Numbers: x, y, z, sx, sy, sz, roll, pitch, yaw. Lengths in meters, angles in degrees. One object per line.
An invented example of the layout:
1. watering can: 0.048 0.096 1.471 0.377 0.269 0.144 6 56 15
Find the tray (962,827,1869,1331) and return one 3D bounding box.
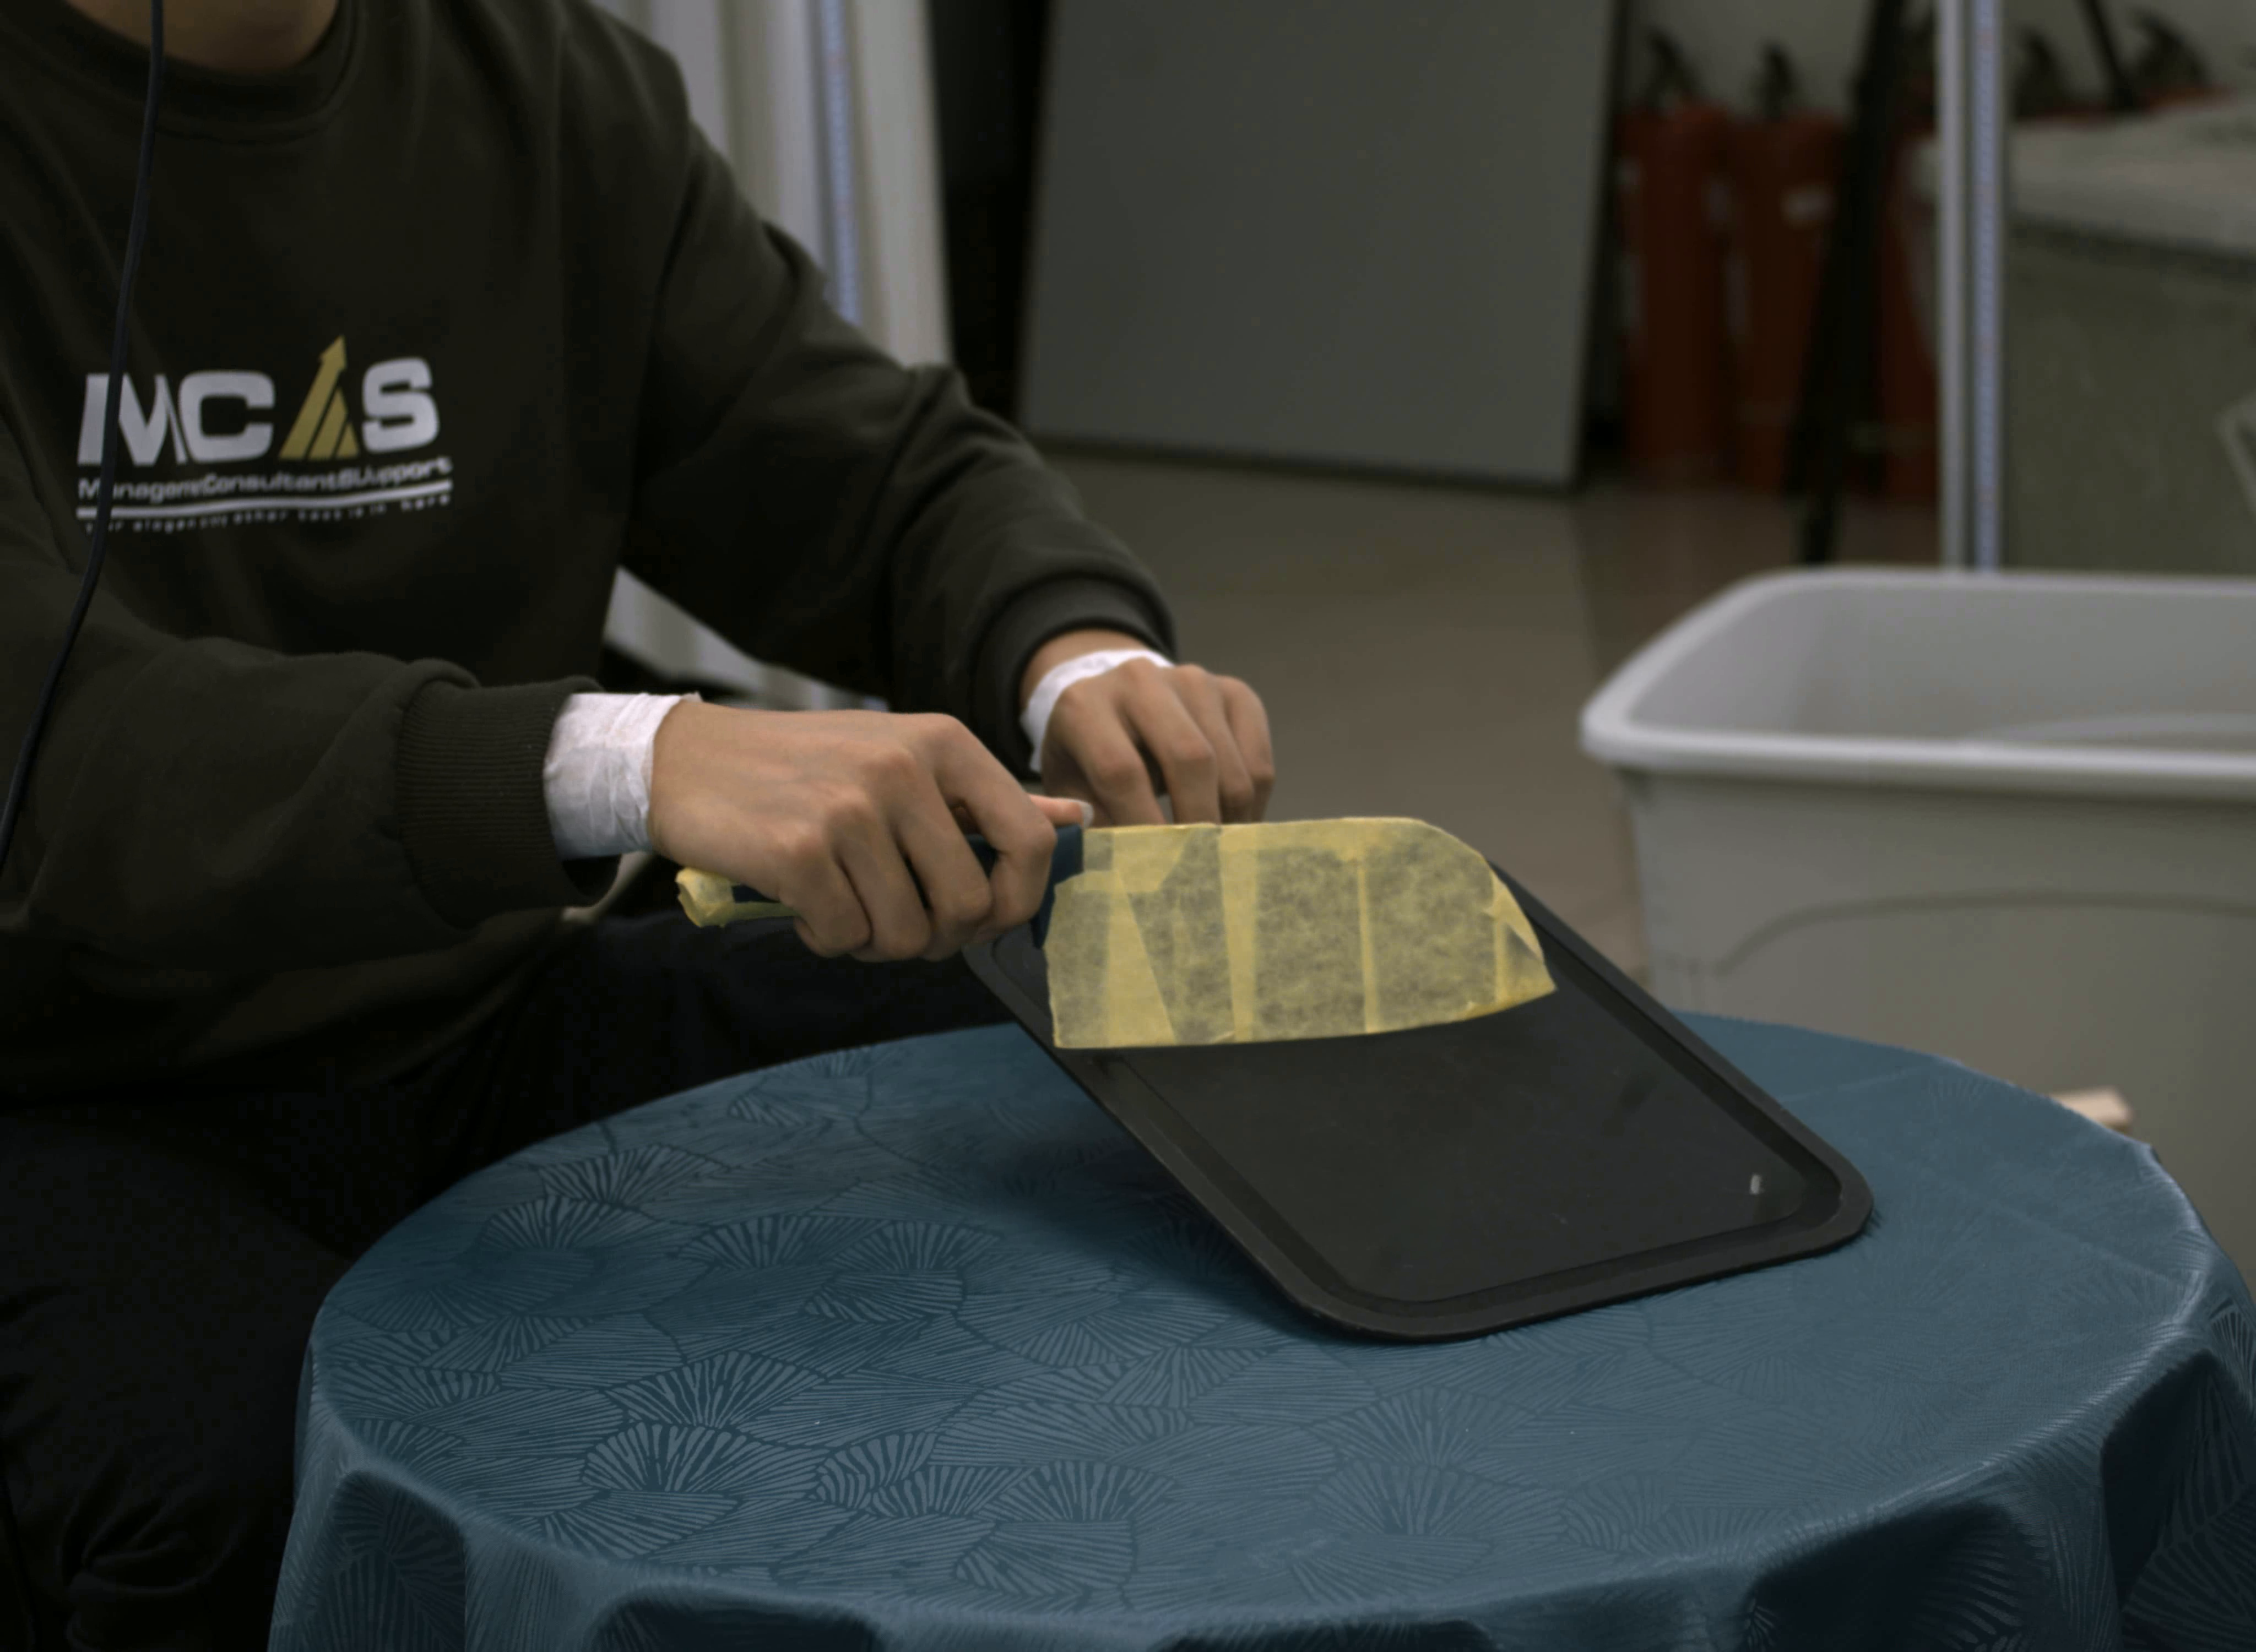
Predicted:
1. tray: 0.084 0.073 1.764 0.206 0.010 0.329 -10 29 -25

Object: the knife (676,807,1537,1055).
1. knife: -0.004 0.034 1.761 0.284 0.082 0.027 0 -9 -8
